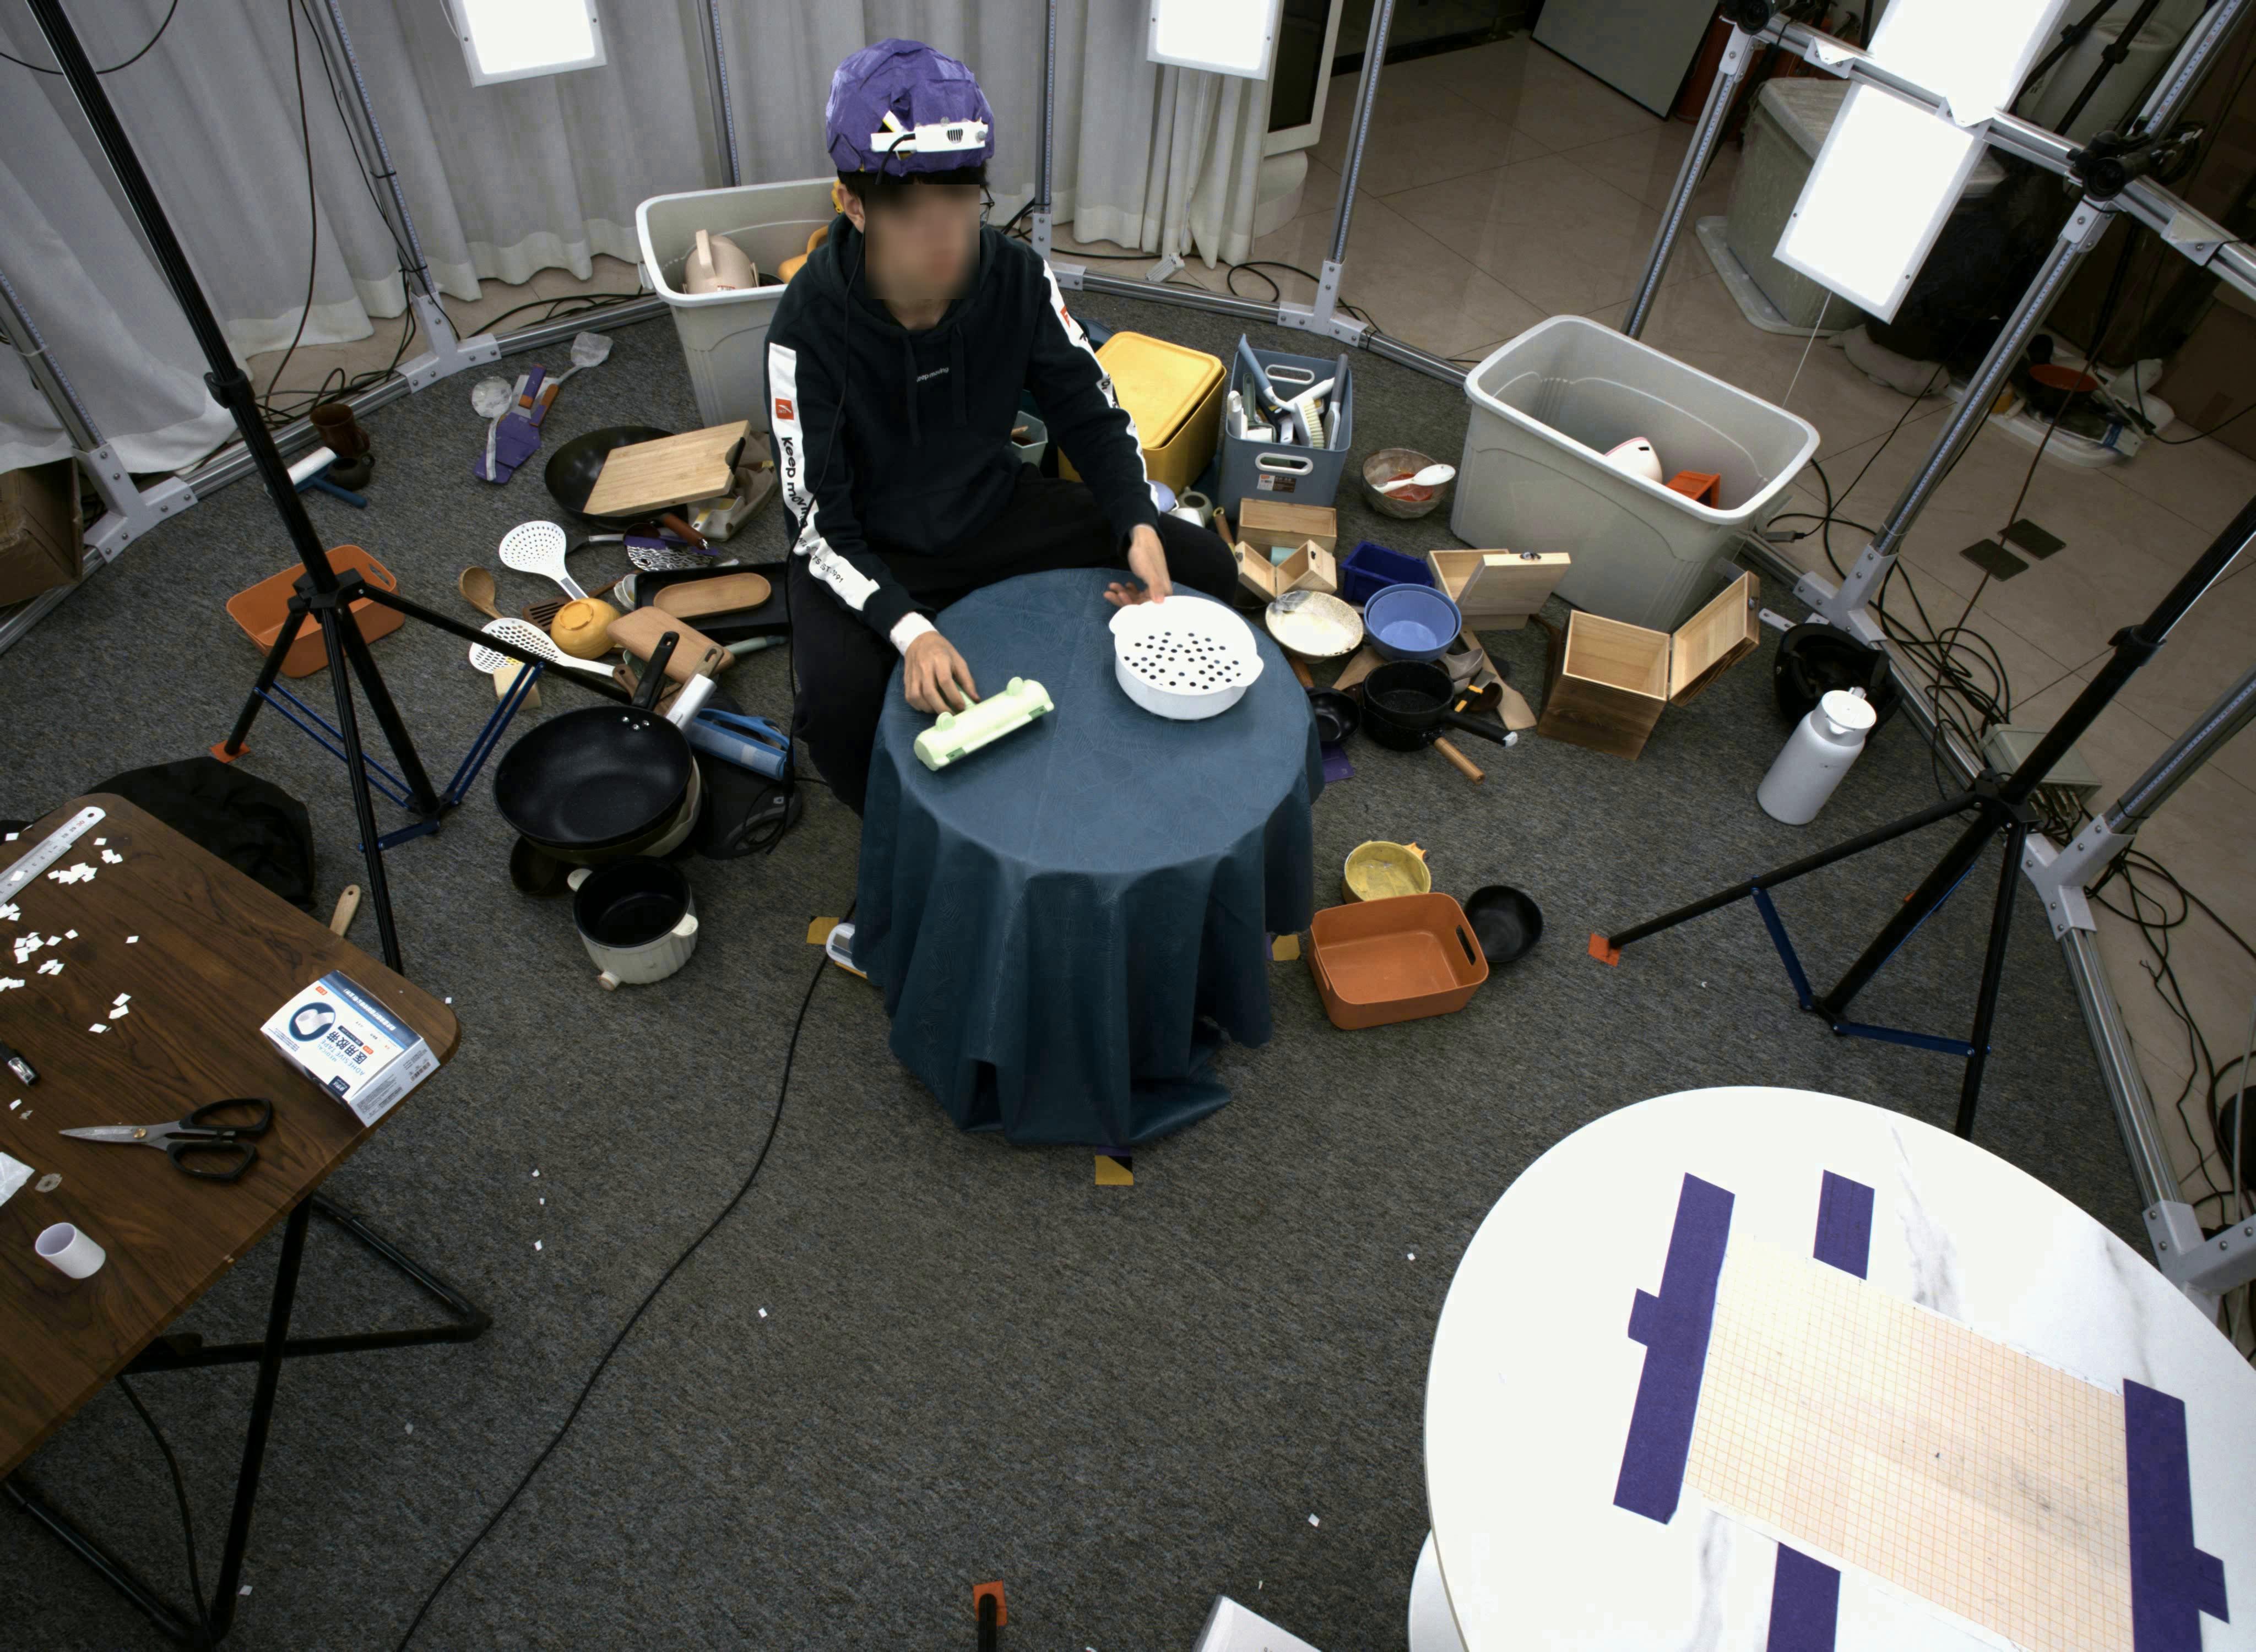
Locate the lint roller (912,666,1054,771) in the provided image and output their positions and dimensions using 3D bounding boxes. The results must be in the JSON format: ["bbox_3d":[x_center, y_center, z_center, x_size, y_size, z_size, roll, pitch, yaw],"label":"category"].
[{"bbox_3d":[-0.229,-0.179,1.758,0.200,0.080,0.186,-30,61,-26],"label":"lint roller"}]

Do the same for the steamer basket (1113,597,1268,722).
[{"bbox_3d":[0.085,-0.237,1.835,0.232,0.067,0.205,25,53,15],"label":"steamer basket"}]
